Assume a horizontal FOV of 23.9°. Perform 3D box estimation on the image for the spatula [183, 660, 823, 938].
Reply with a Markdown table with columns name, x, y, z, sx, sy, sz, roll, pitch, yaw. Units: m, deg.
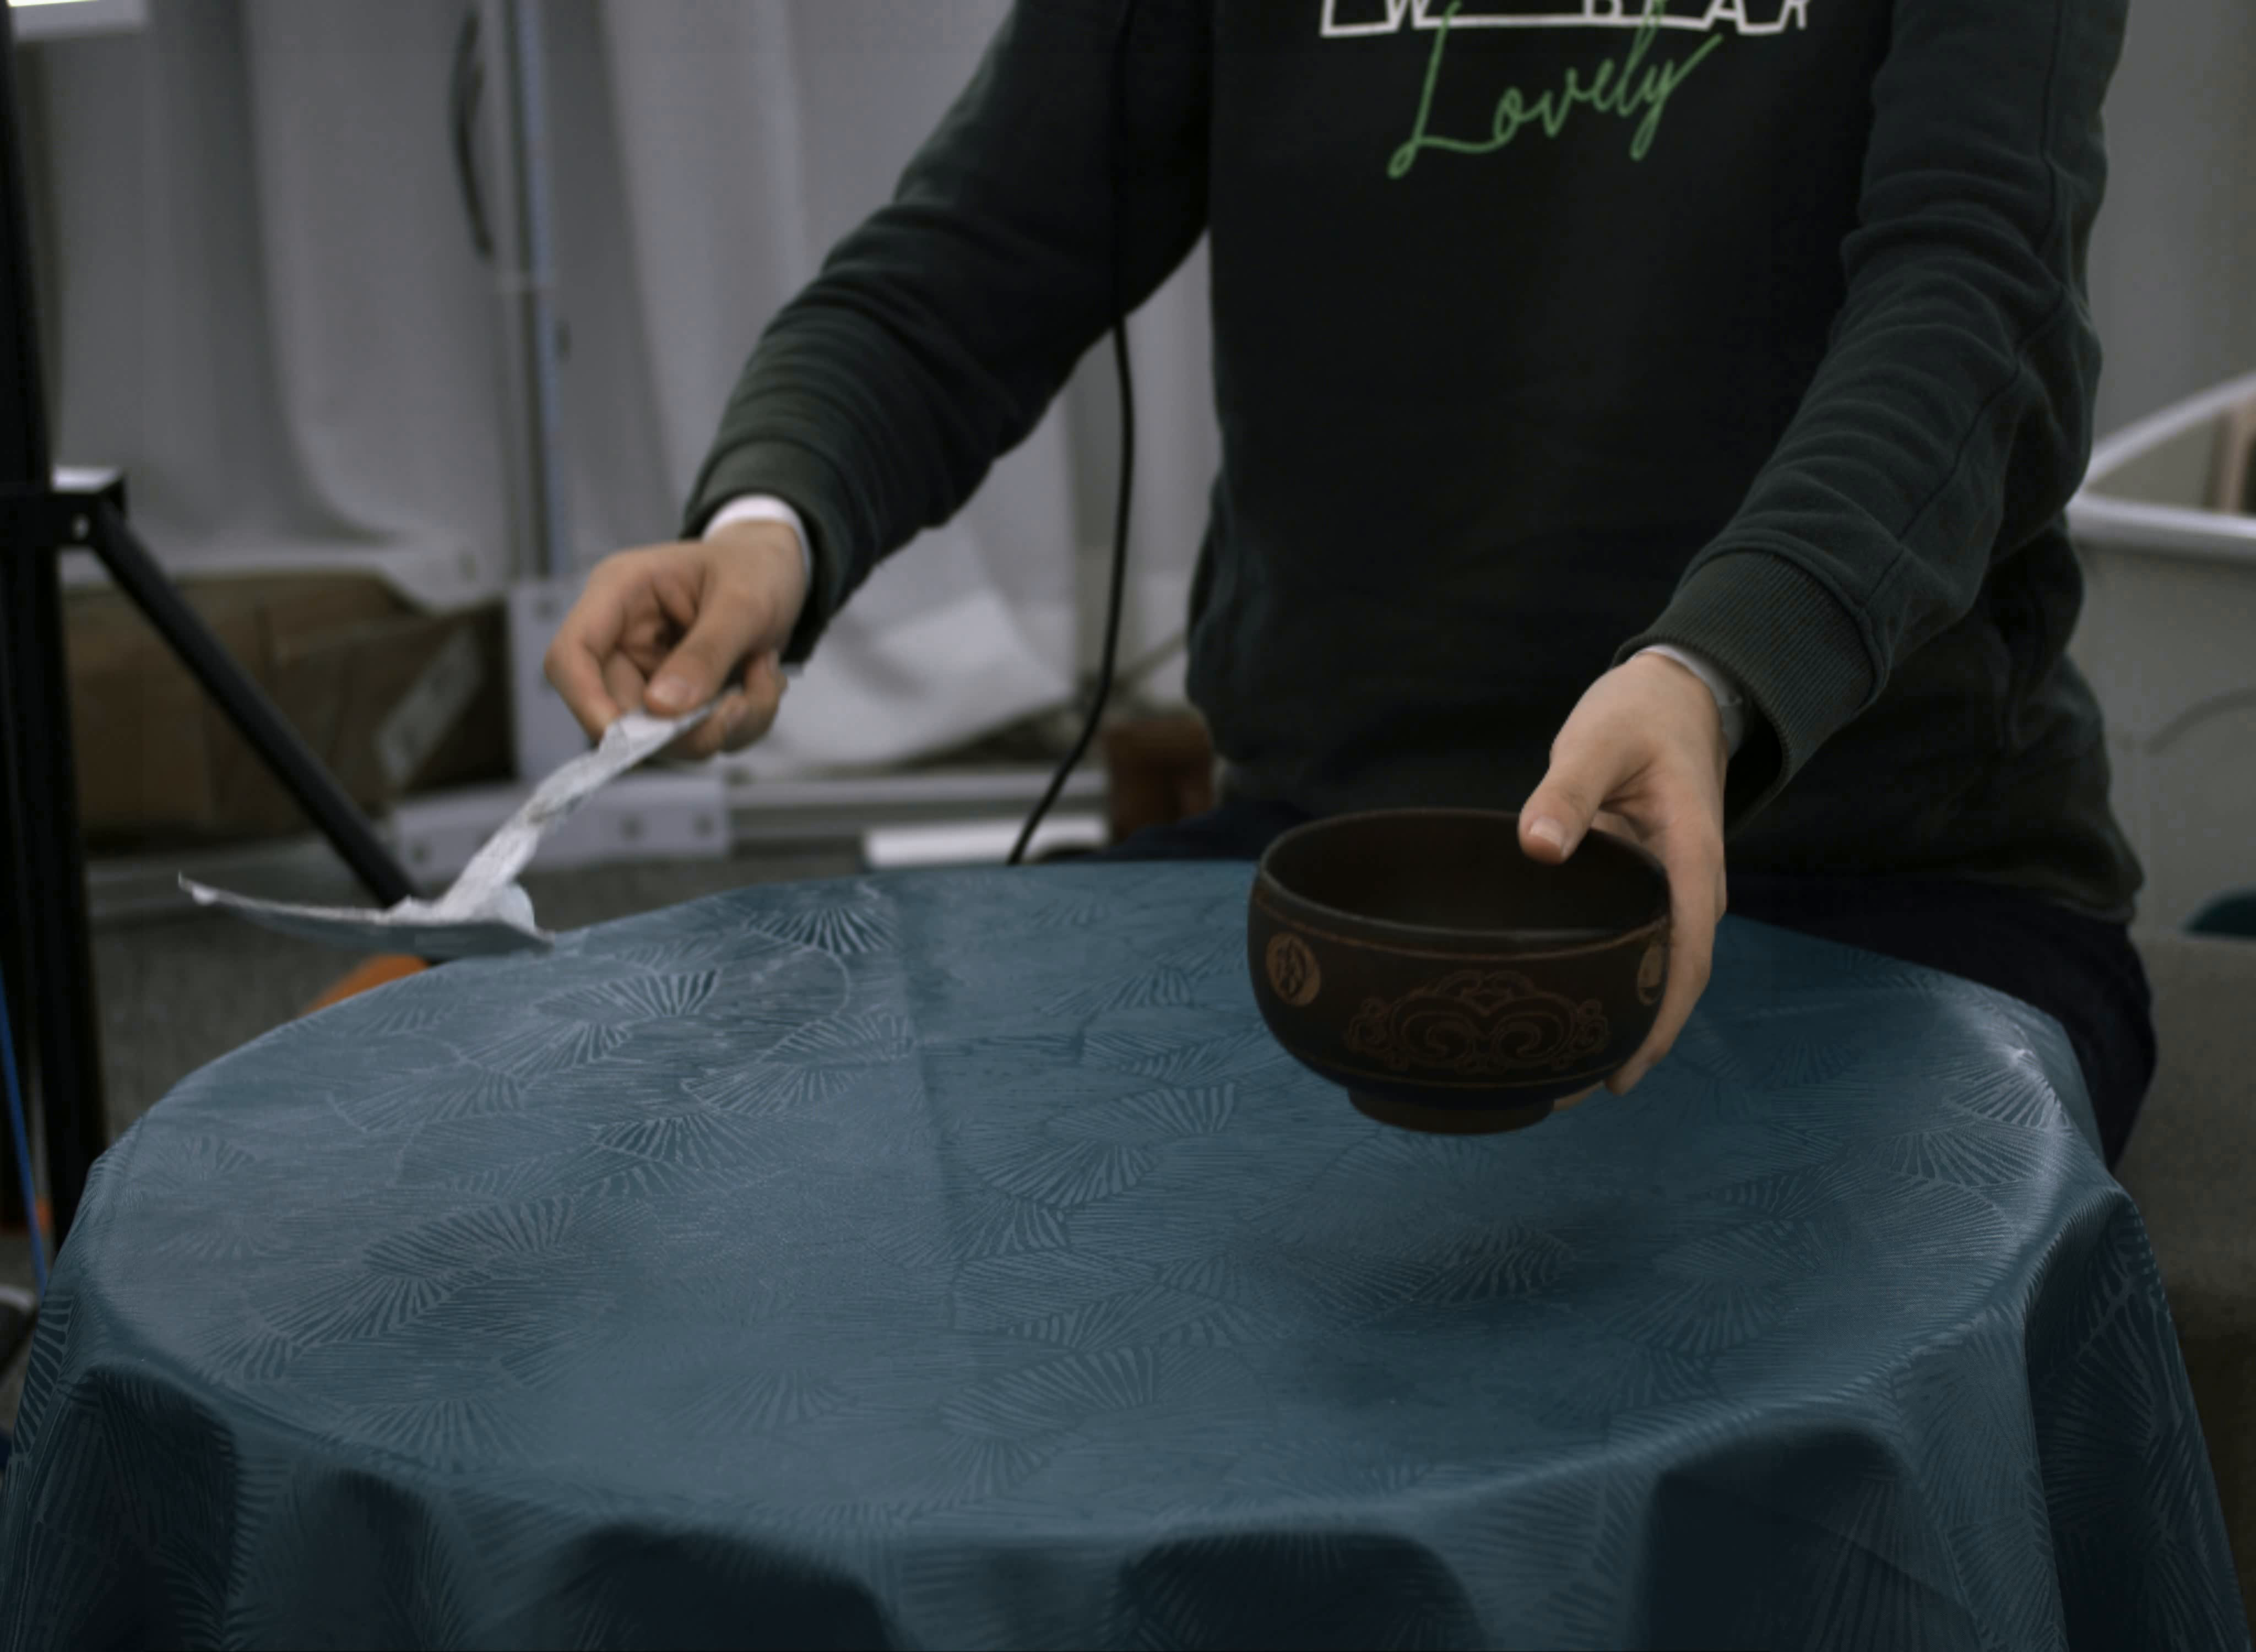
| name | x | y | z | sx | sy | sz | roll | pitch | yaw |
| --- | --- | --- | --- | --- | --- | --- | --- | --- | --- |
| spatula | -0.166 | -0.019 | 1.613 | 0.099 | 0.045 | 0.361 | 3 | 18 | 17 |

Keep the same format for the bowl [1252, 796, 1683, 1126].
| name | x | y | z | sx | sy | sz | roll | pitch | yaw |
| --- | --- | --- | --- | --- | --- | --- | --- | --- | --- |
| bowl | 0.092 | 0.041 | 1.459 | 0.117 | 0.070 | 0.118 | 3 | 16 | -2 |
